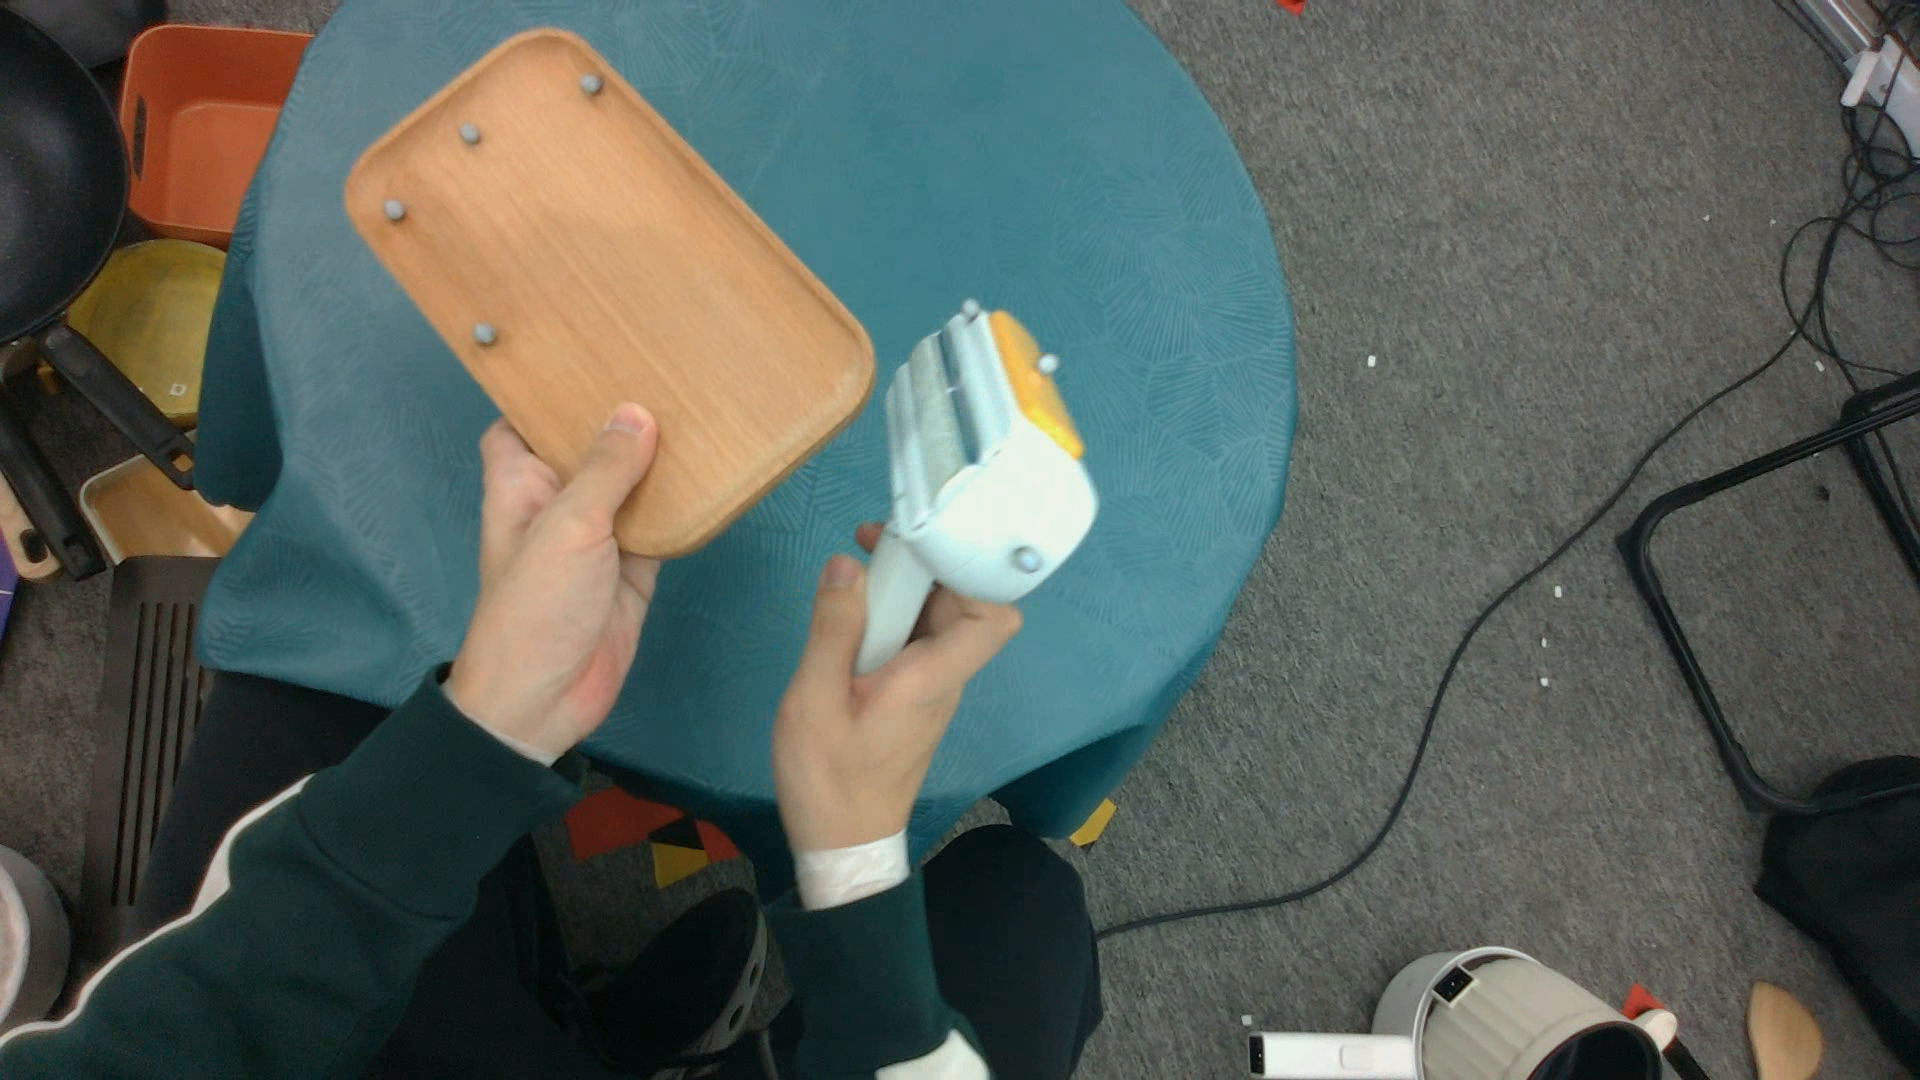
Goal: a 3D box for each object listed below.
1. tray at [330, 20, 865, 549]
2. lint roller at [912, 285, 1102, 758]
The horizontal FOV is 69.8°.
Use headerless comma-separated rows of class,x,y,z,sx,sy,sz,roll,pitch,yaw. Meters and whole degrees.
tray,-0.152,-0.111,0.561,0.130,0.023,0.251,-41,70,-4
lint roller,0.004,0.008,0.568,0.074,0.191,0.193,12,30,-12
